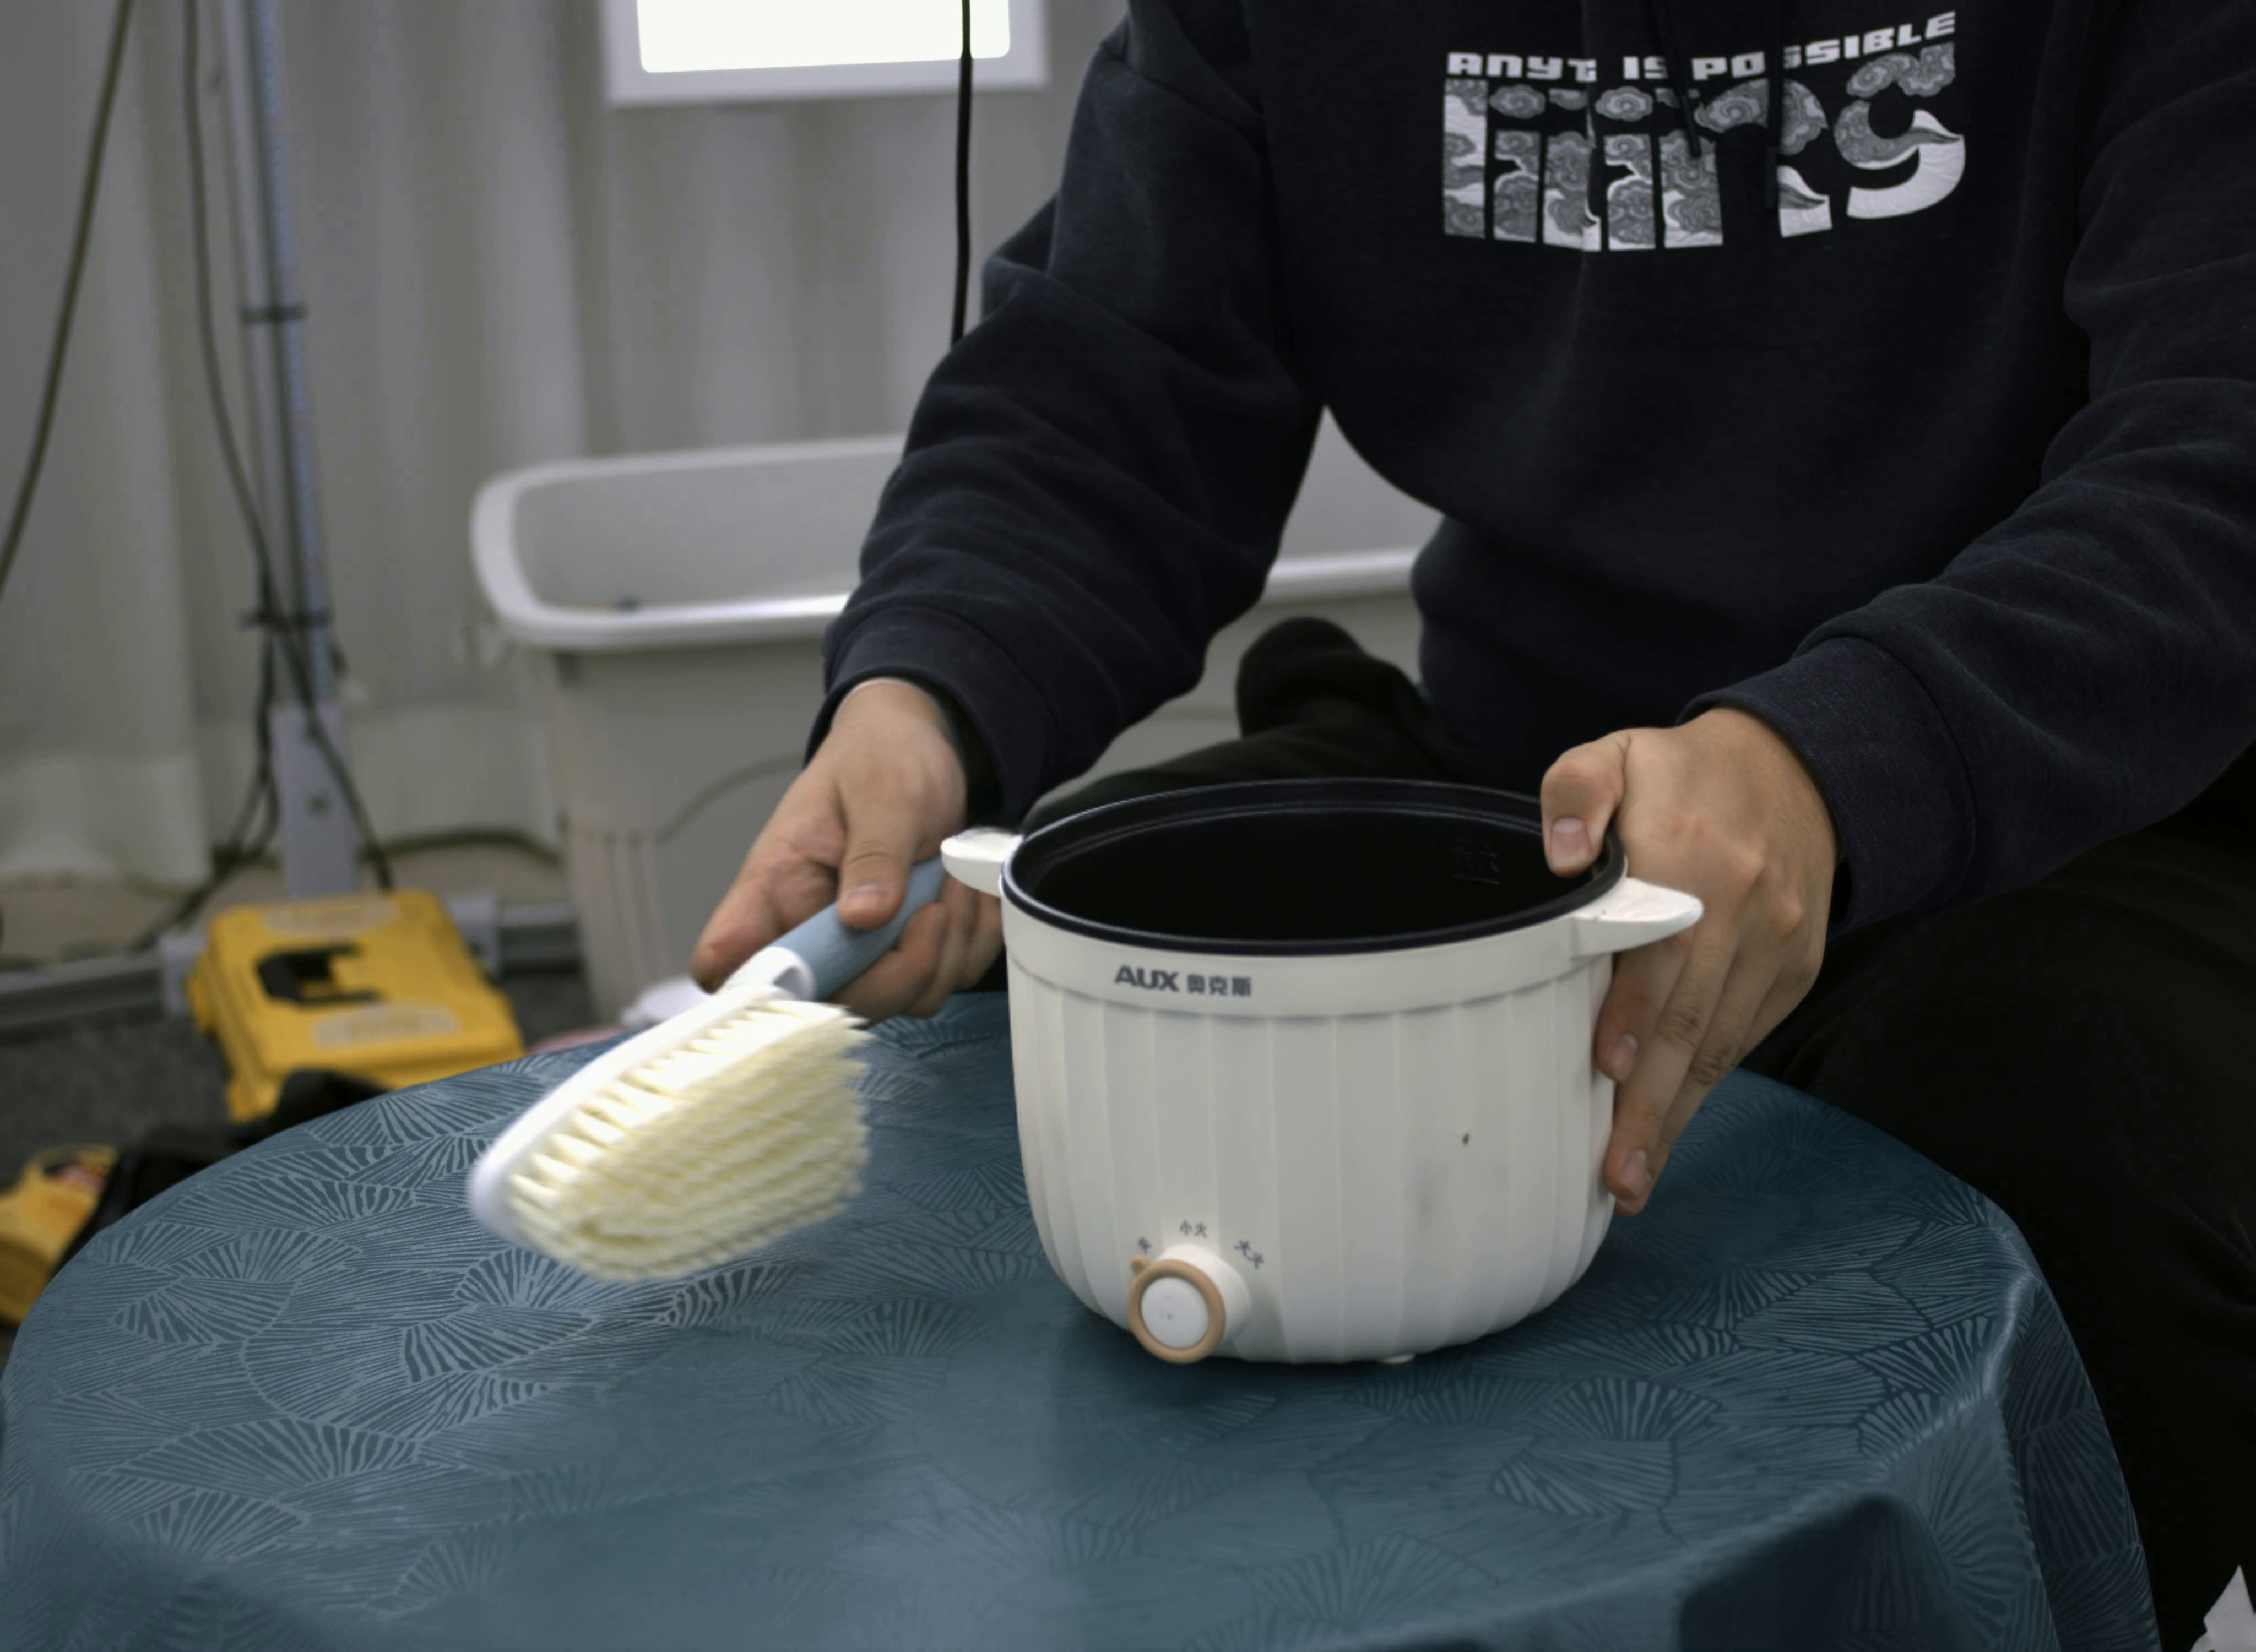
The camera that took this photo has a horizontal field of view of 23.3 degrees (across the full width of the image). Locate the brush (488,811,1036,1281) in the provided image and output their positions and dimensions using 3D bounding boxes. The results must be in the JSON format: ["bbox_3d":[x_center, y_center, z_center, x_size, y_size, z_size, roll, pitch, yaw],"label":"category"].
[{"bbox_3d":[-0.082,0.058,1.705,0.085,0.082,0.326,43,33,7],"label":"brush"}]

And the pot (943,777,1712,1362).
[{"bbox_3d":[0.055,0.074,1.593,0.241,0.142,0.190,4,13,26],"label":"pot"}]
